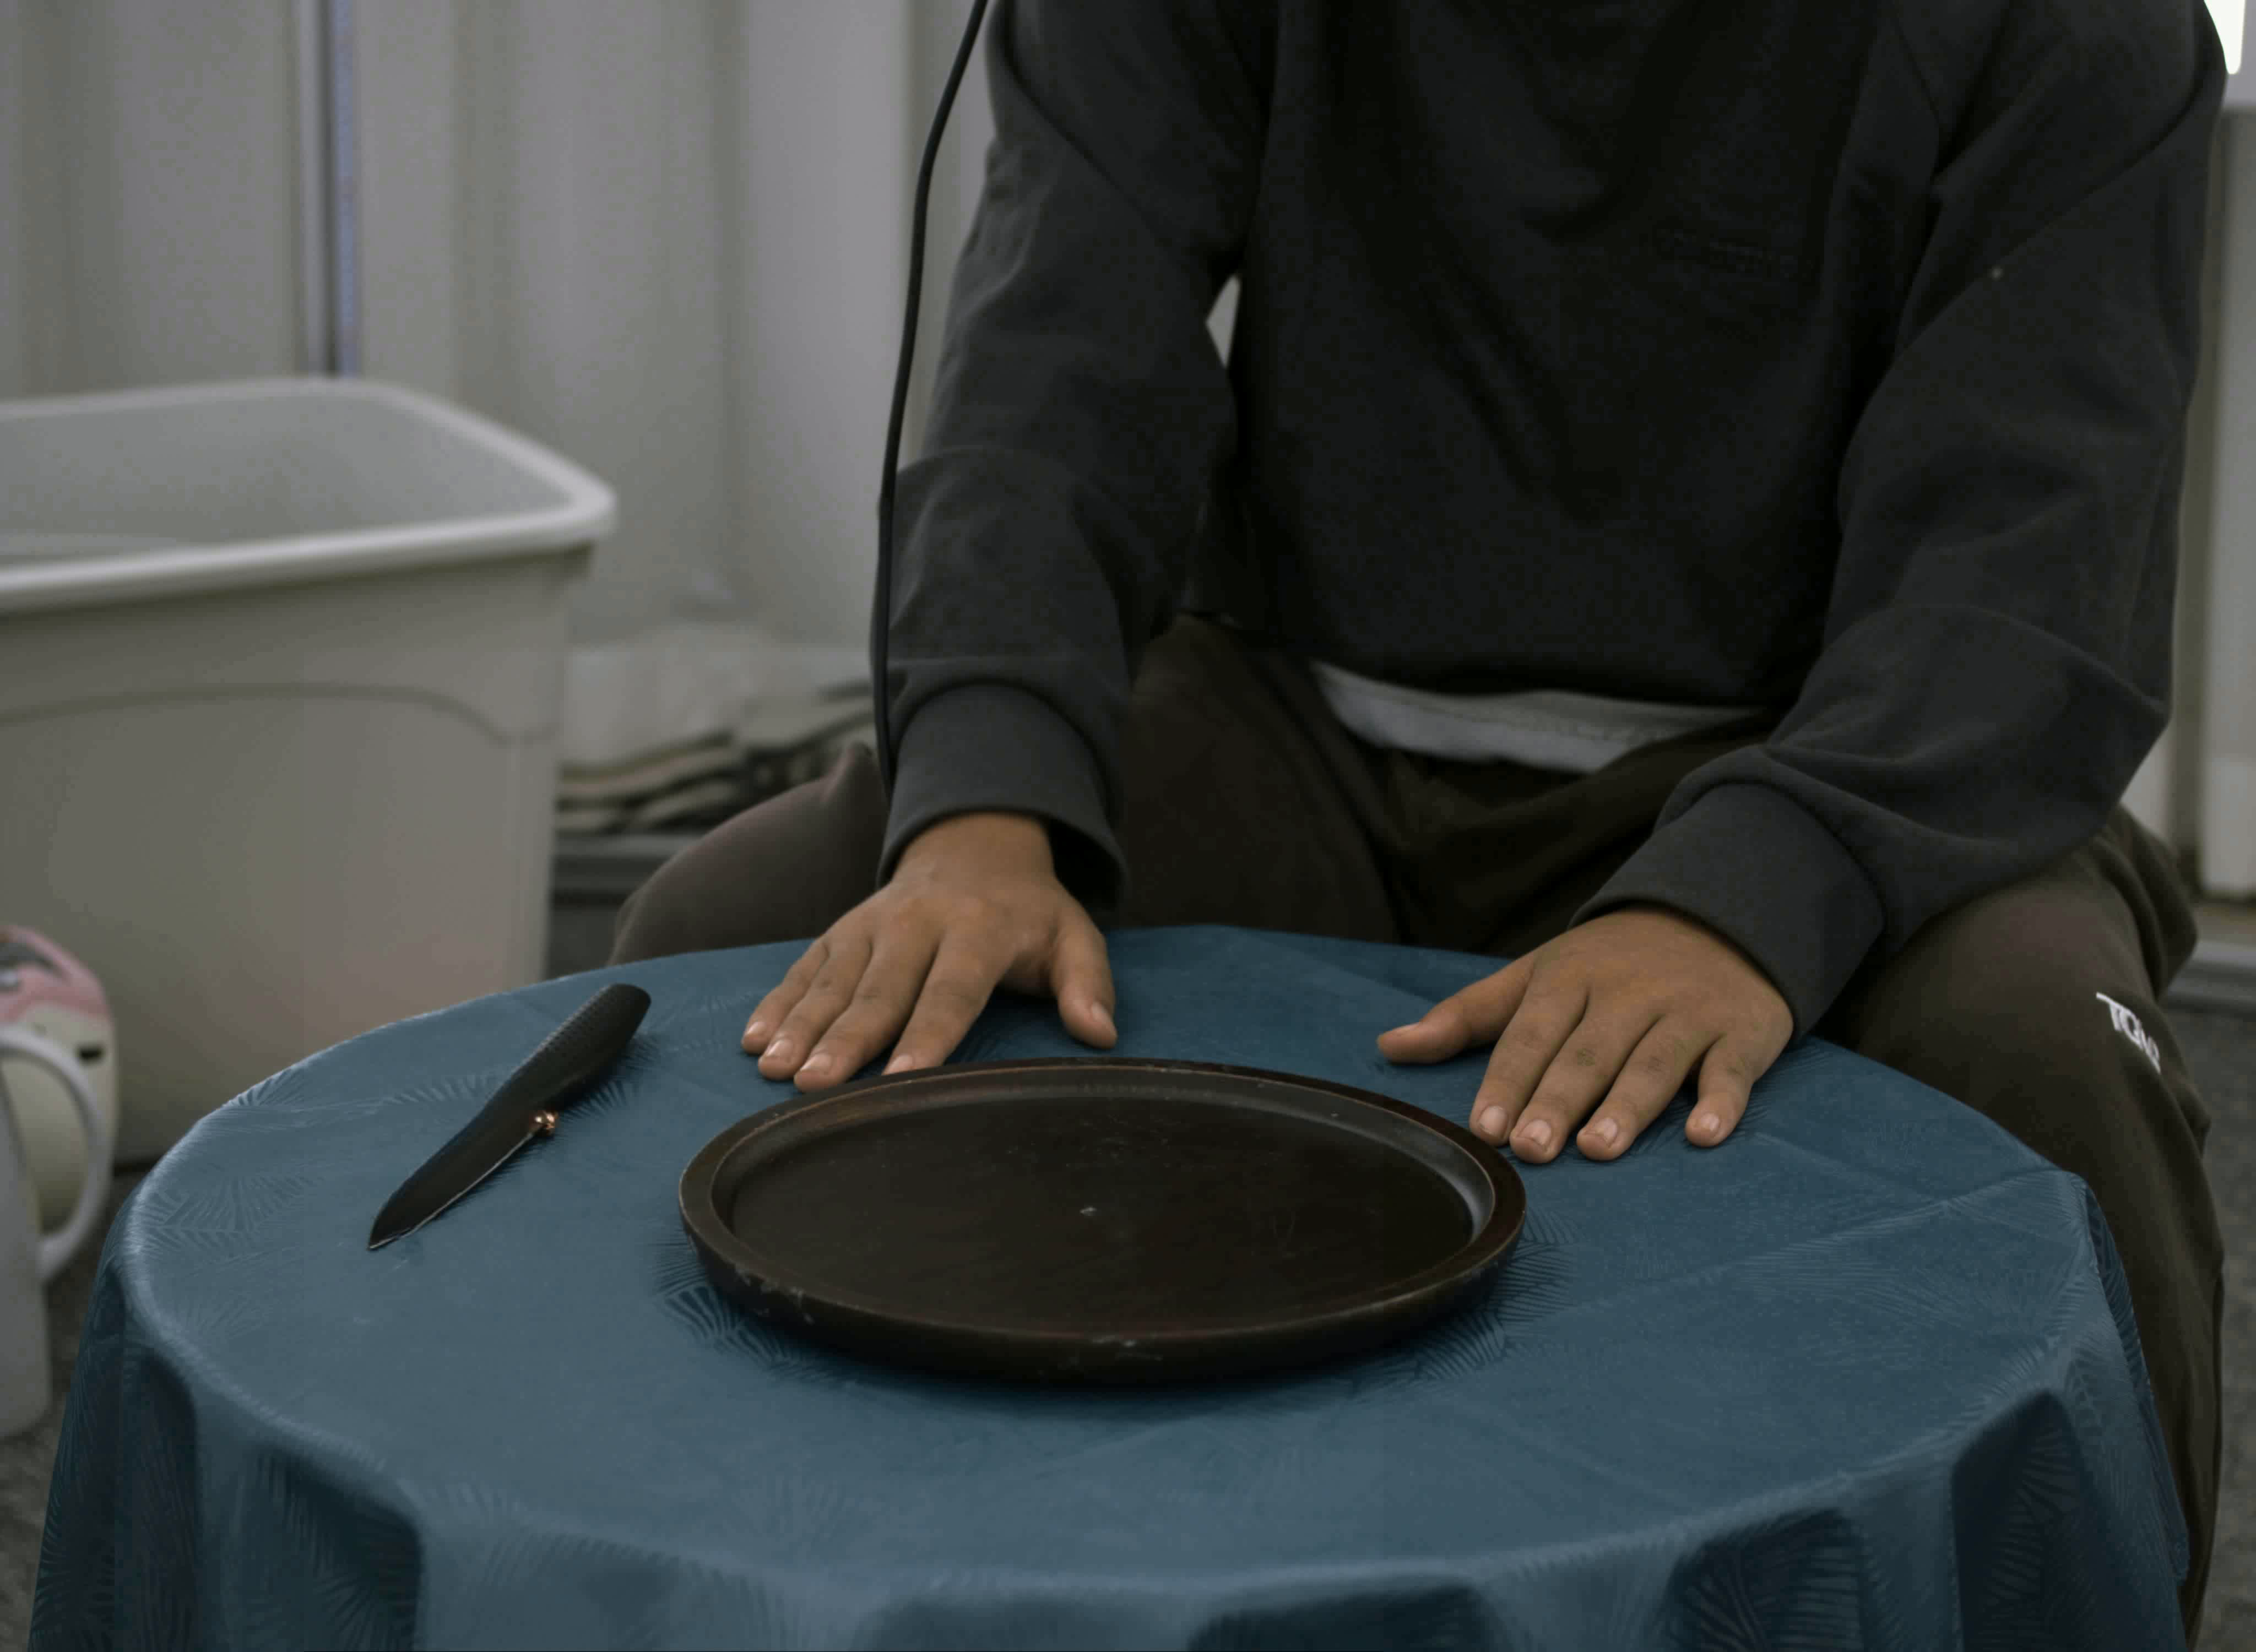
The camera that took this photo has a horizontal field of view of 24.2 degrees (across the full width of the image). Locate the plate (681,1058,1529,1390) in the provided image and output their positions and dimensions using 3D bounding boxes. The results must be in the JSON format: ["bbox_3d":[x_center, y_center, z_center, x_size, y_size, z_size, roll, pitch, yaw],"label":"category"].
[{"bbox_3d":[-0.007,0.116,1.570,0.254,0.029,0.253,0,14,1],"label":"plate"}]

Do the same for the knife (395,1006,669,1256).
[{"bbox_3d":[-0.191,0.095,1.661,0.026,0.017,0.225,10,18,13],"label":"knife"}]
